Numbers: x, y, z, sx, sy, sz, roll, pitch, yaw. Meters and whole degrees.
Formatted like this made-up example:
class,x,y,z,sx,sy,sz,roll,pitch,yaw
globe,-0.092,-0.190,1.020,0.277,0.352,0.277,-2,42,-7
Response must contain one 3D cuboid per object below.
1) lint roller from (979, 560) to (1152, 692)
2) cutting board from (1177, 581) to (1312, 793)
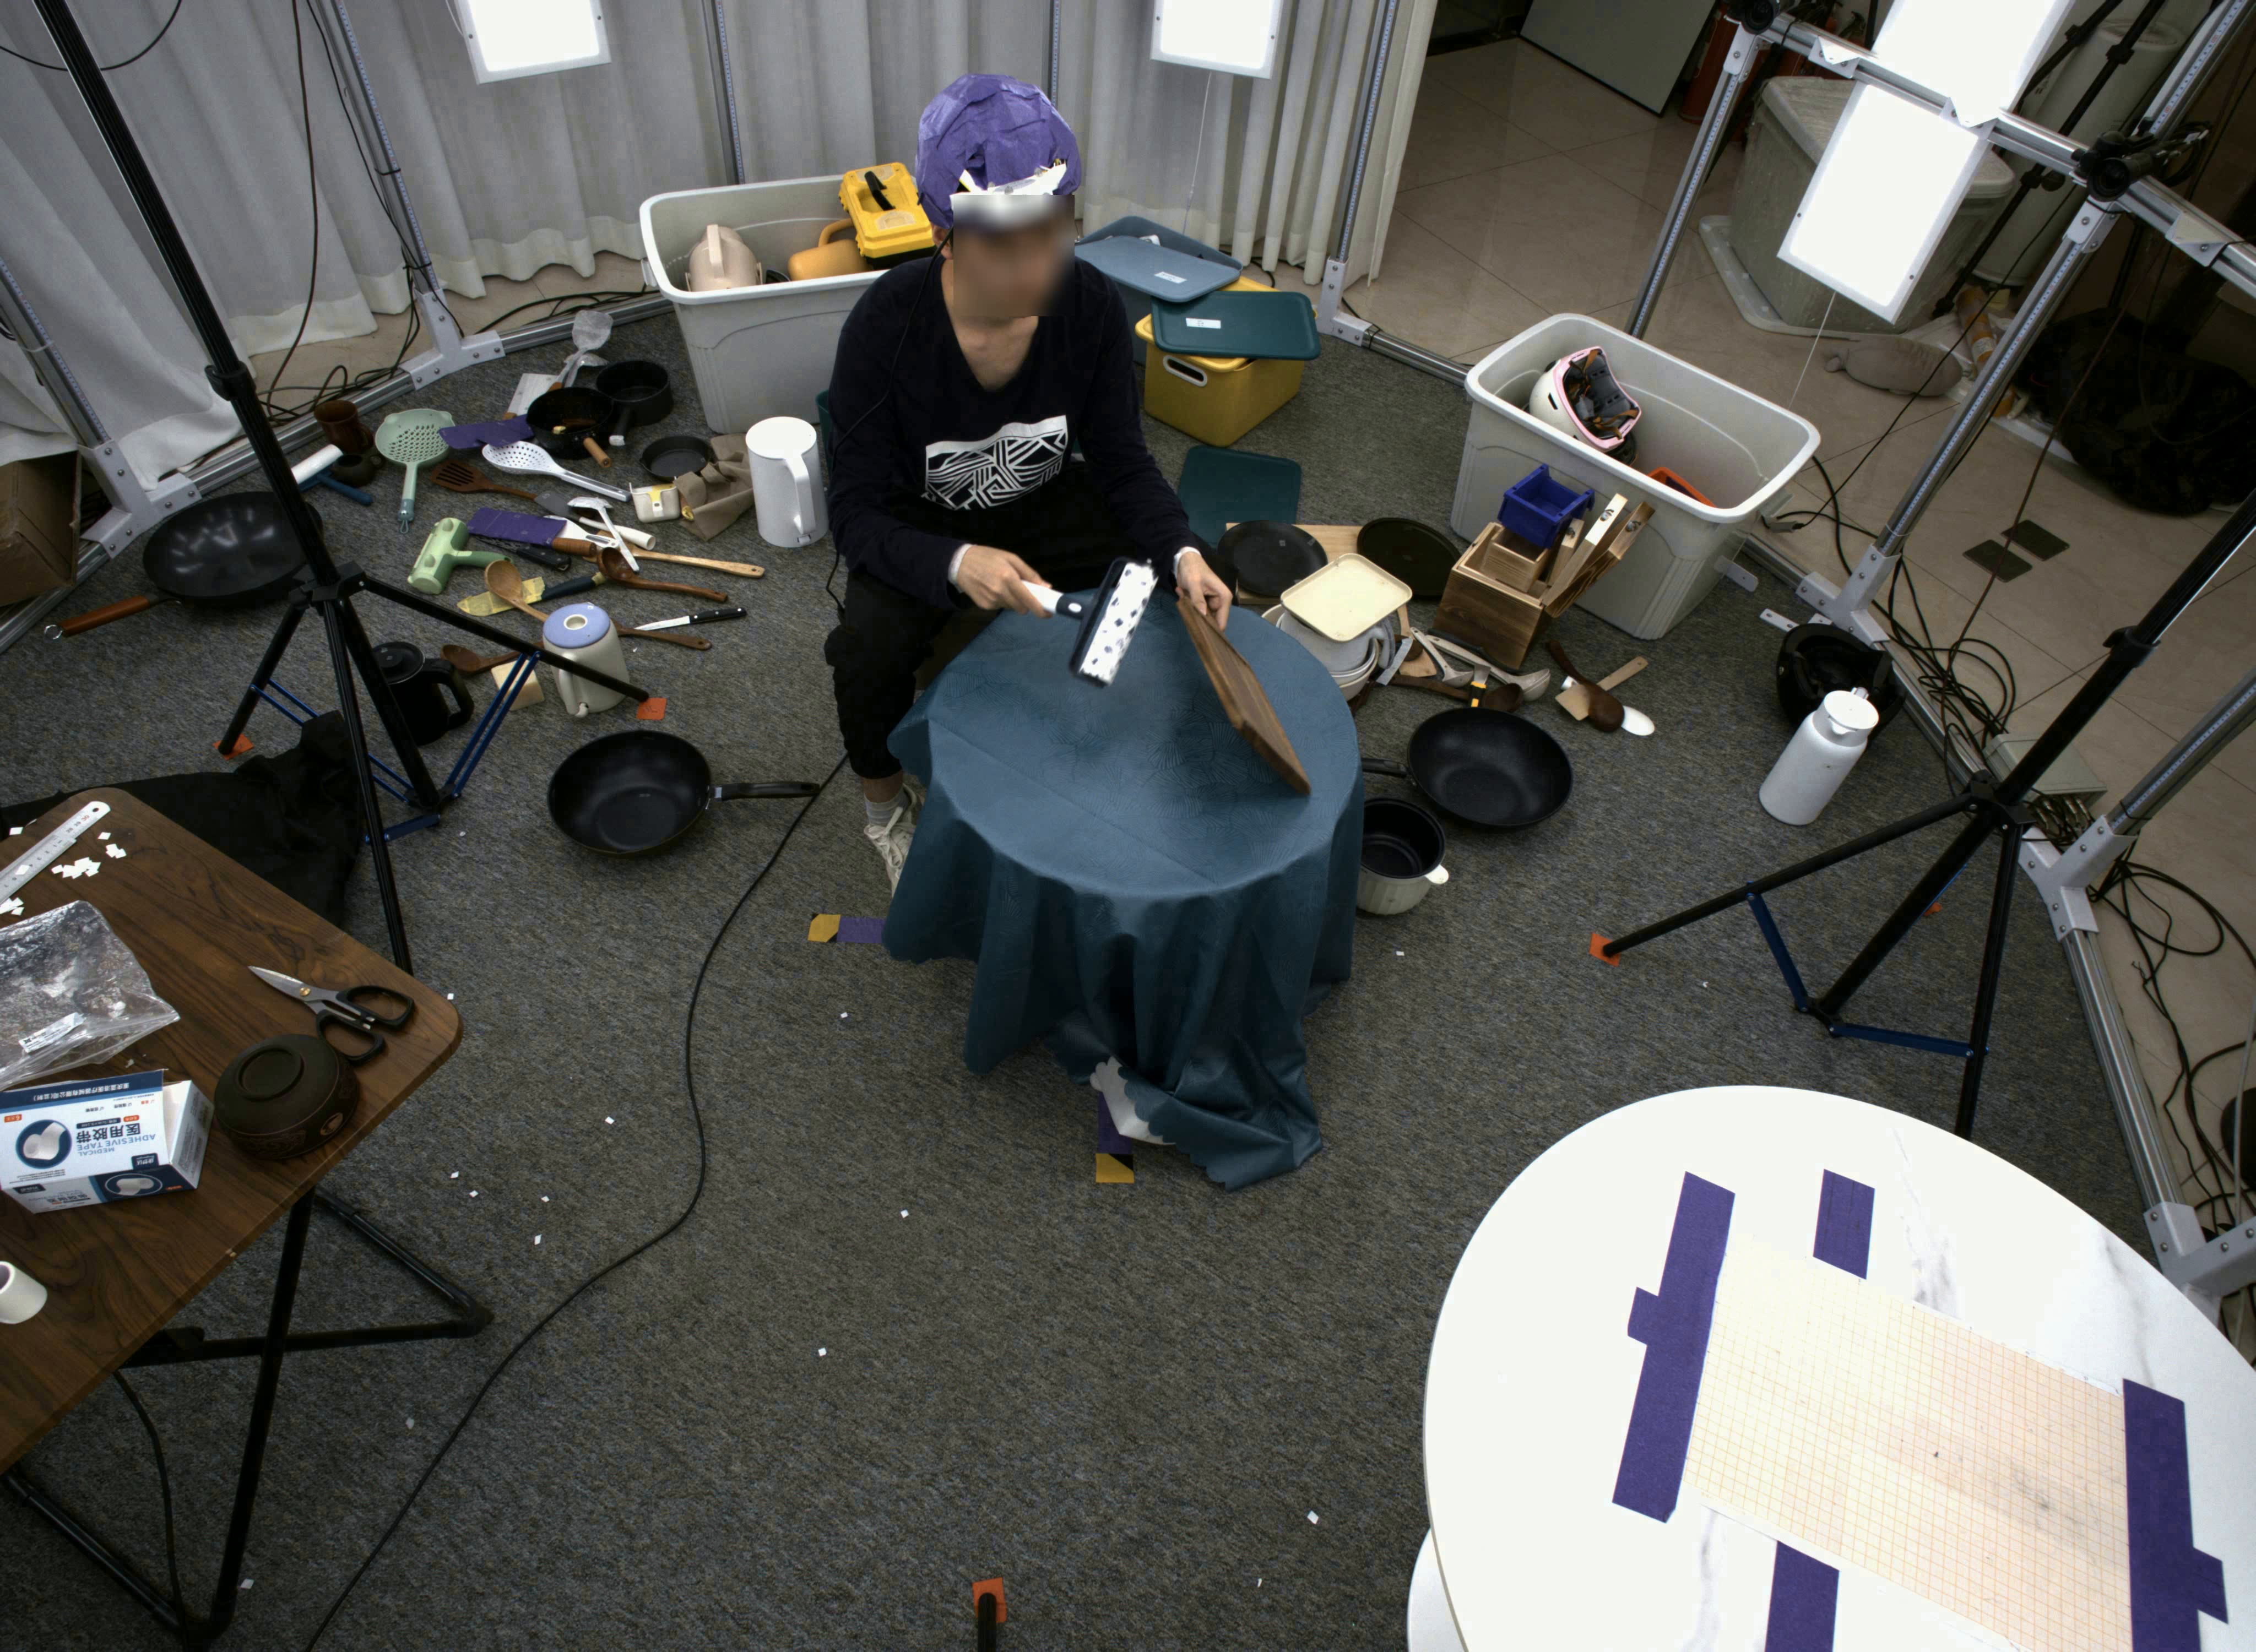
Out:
class,x,y,z,sx,sy,sz,roll,pitch,yaw
lint roller,-0.105,-0.304,1.773,0.249,0.050,0.176,22,88,21
cutting board,0.143,-0.214,1.754,0.023,0.197,0.361,-34,50,16
